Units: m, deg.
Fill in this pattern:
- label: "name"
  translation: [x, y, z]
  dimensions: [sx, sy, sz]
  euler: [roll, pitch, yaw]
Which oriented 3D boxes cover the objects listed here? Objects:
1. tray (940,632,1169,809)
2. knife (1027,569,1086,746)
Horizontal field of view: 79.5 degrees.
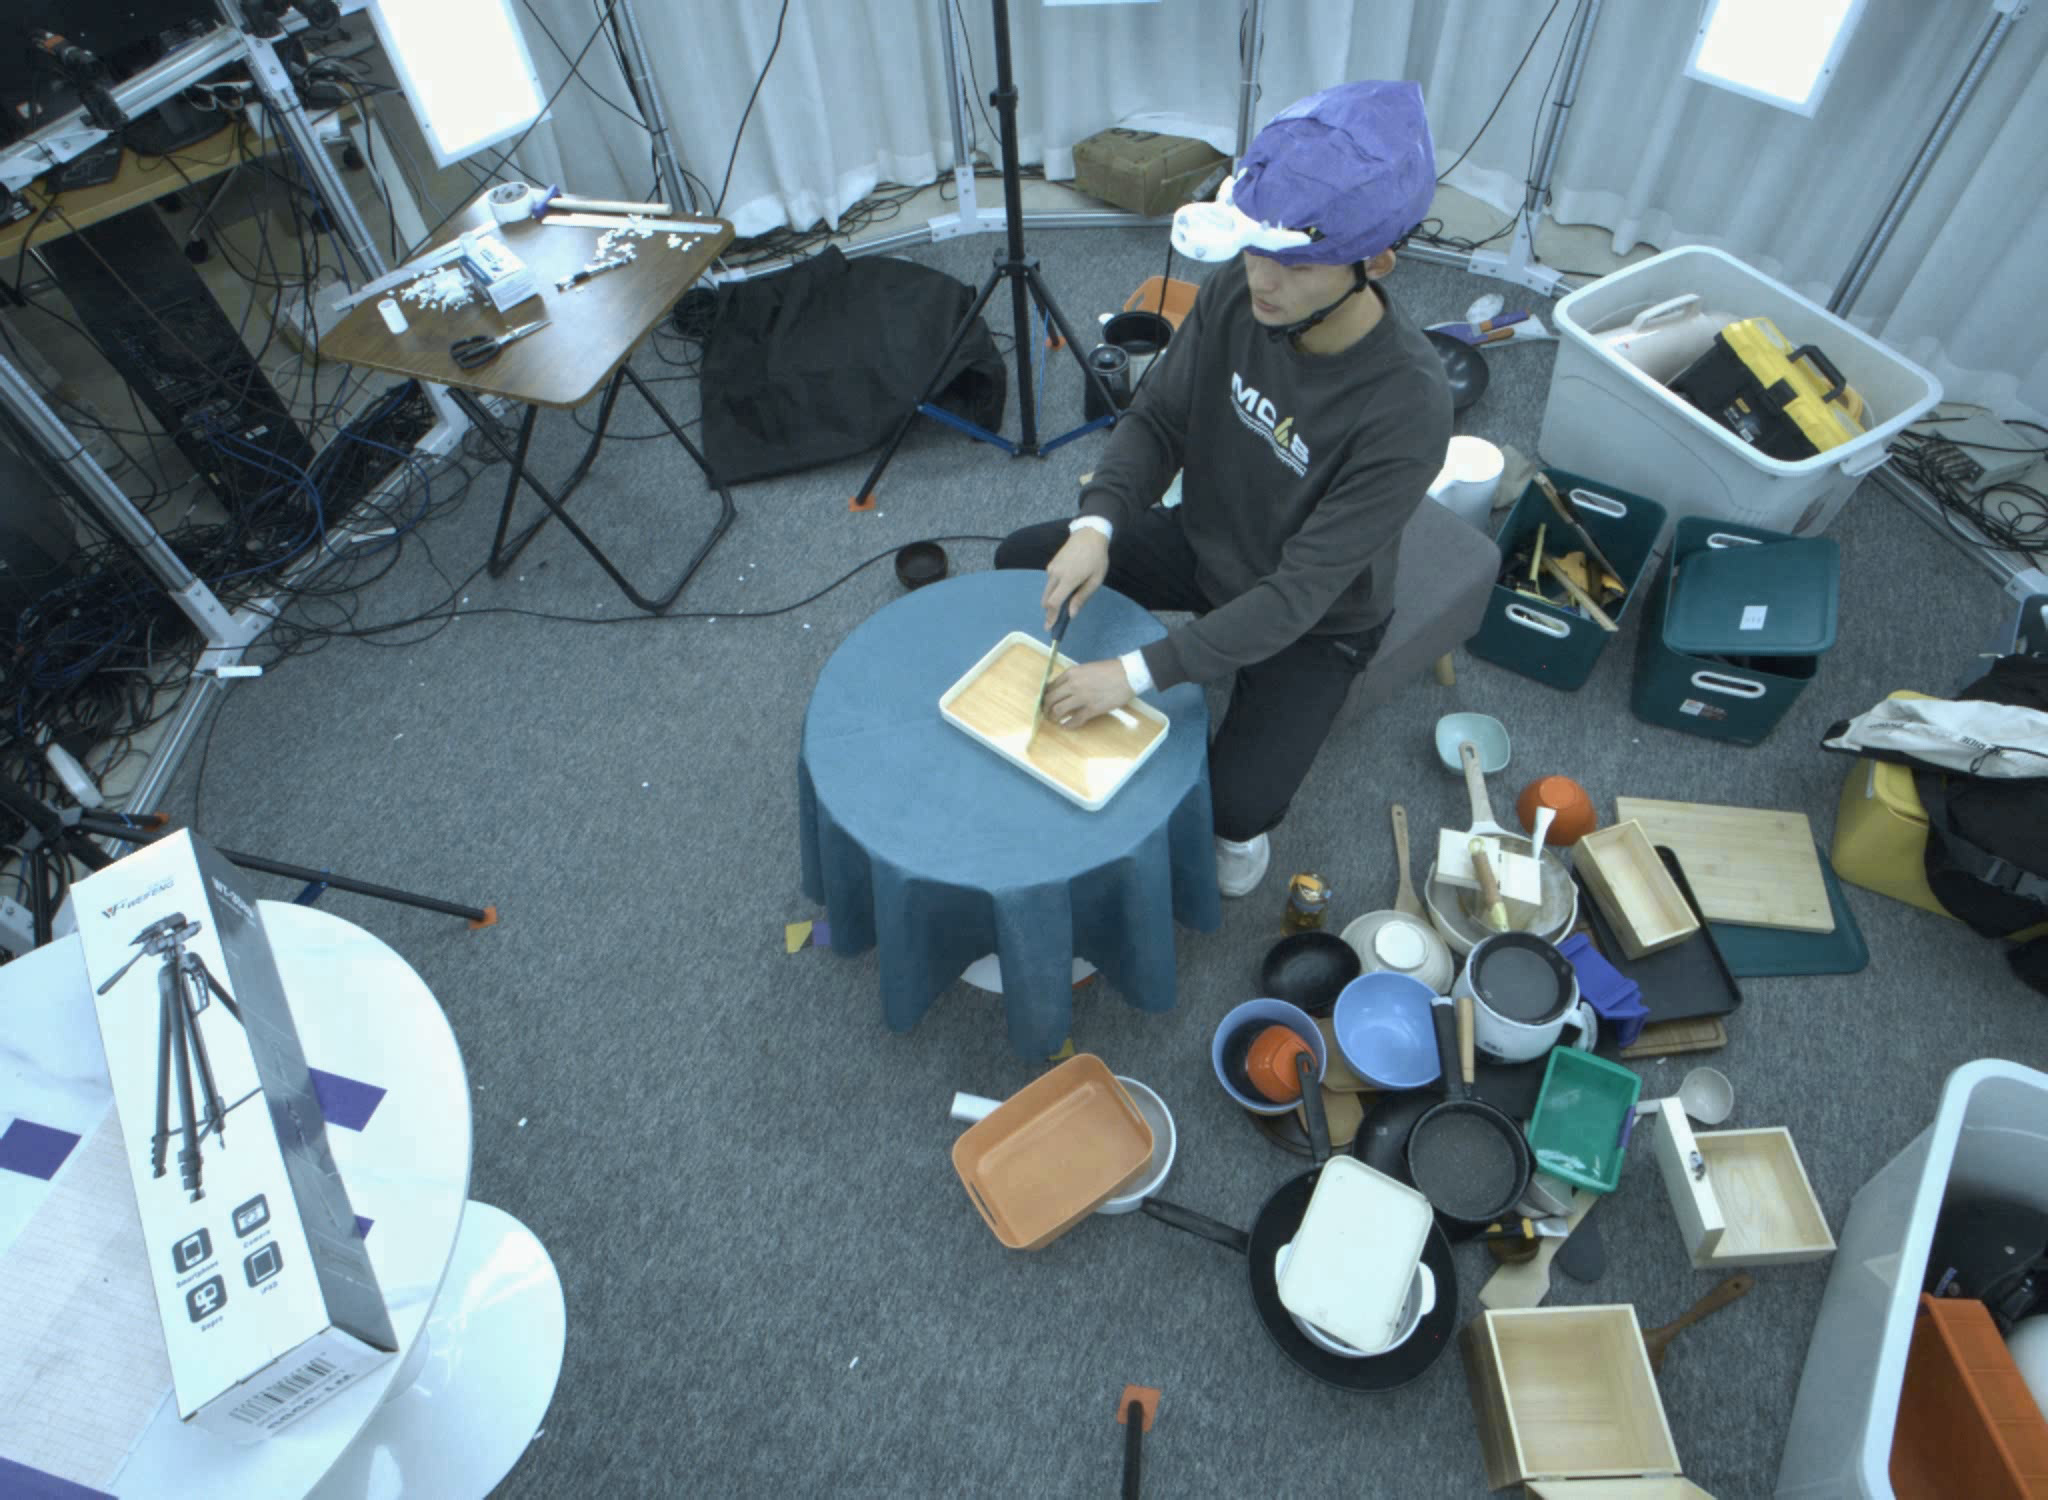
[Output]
- label: "tray"
  translation: [0.043, -0.050, 1.813]
  dimensions: [0.295, 0.027, 0.193]
  euler: [33, 60, 22]
- label: "knife"
  translation: [0.044, -0.137, 1.812]
  dimensions: [0.027, 0.081, 0.288]
  euler: [15, 71, 5]
